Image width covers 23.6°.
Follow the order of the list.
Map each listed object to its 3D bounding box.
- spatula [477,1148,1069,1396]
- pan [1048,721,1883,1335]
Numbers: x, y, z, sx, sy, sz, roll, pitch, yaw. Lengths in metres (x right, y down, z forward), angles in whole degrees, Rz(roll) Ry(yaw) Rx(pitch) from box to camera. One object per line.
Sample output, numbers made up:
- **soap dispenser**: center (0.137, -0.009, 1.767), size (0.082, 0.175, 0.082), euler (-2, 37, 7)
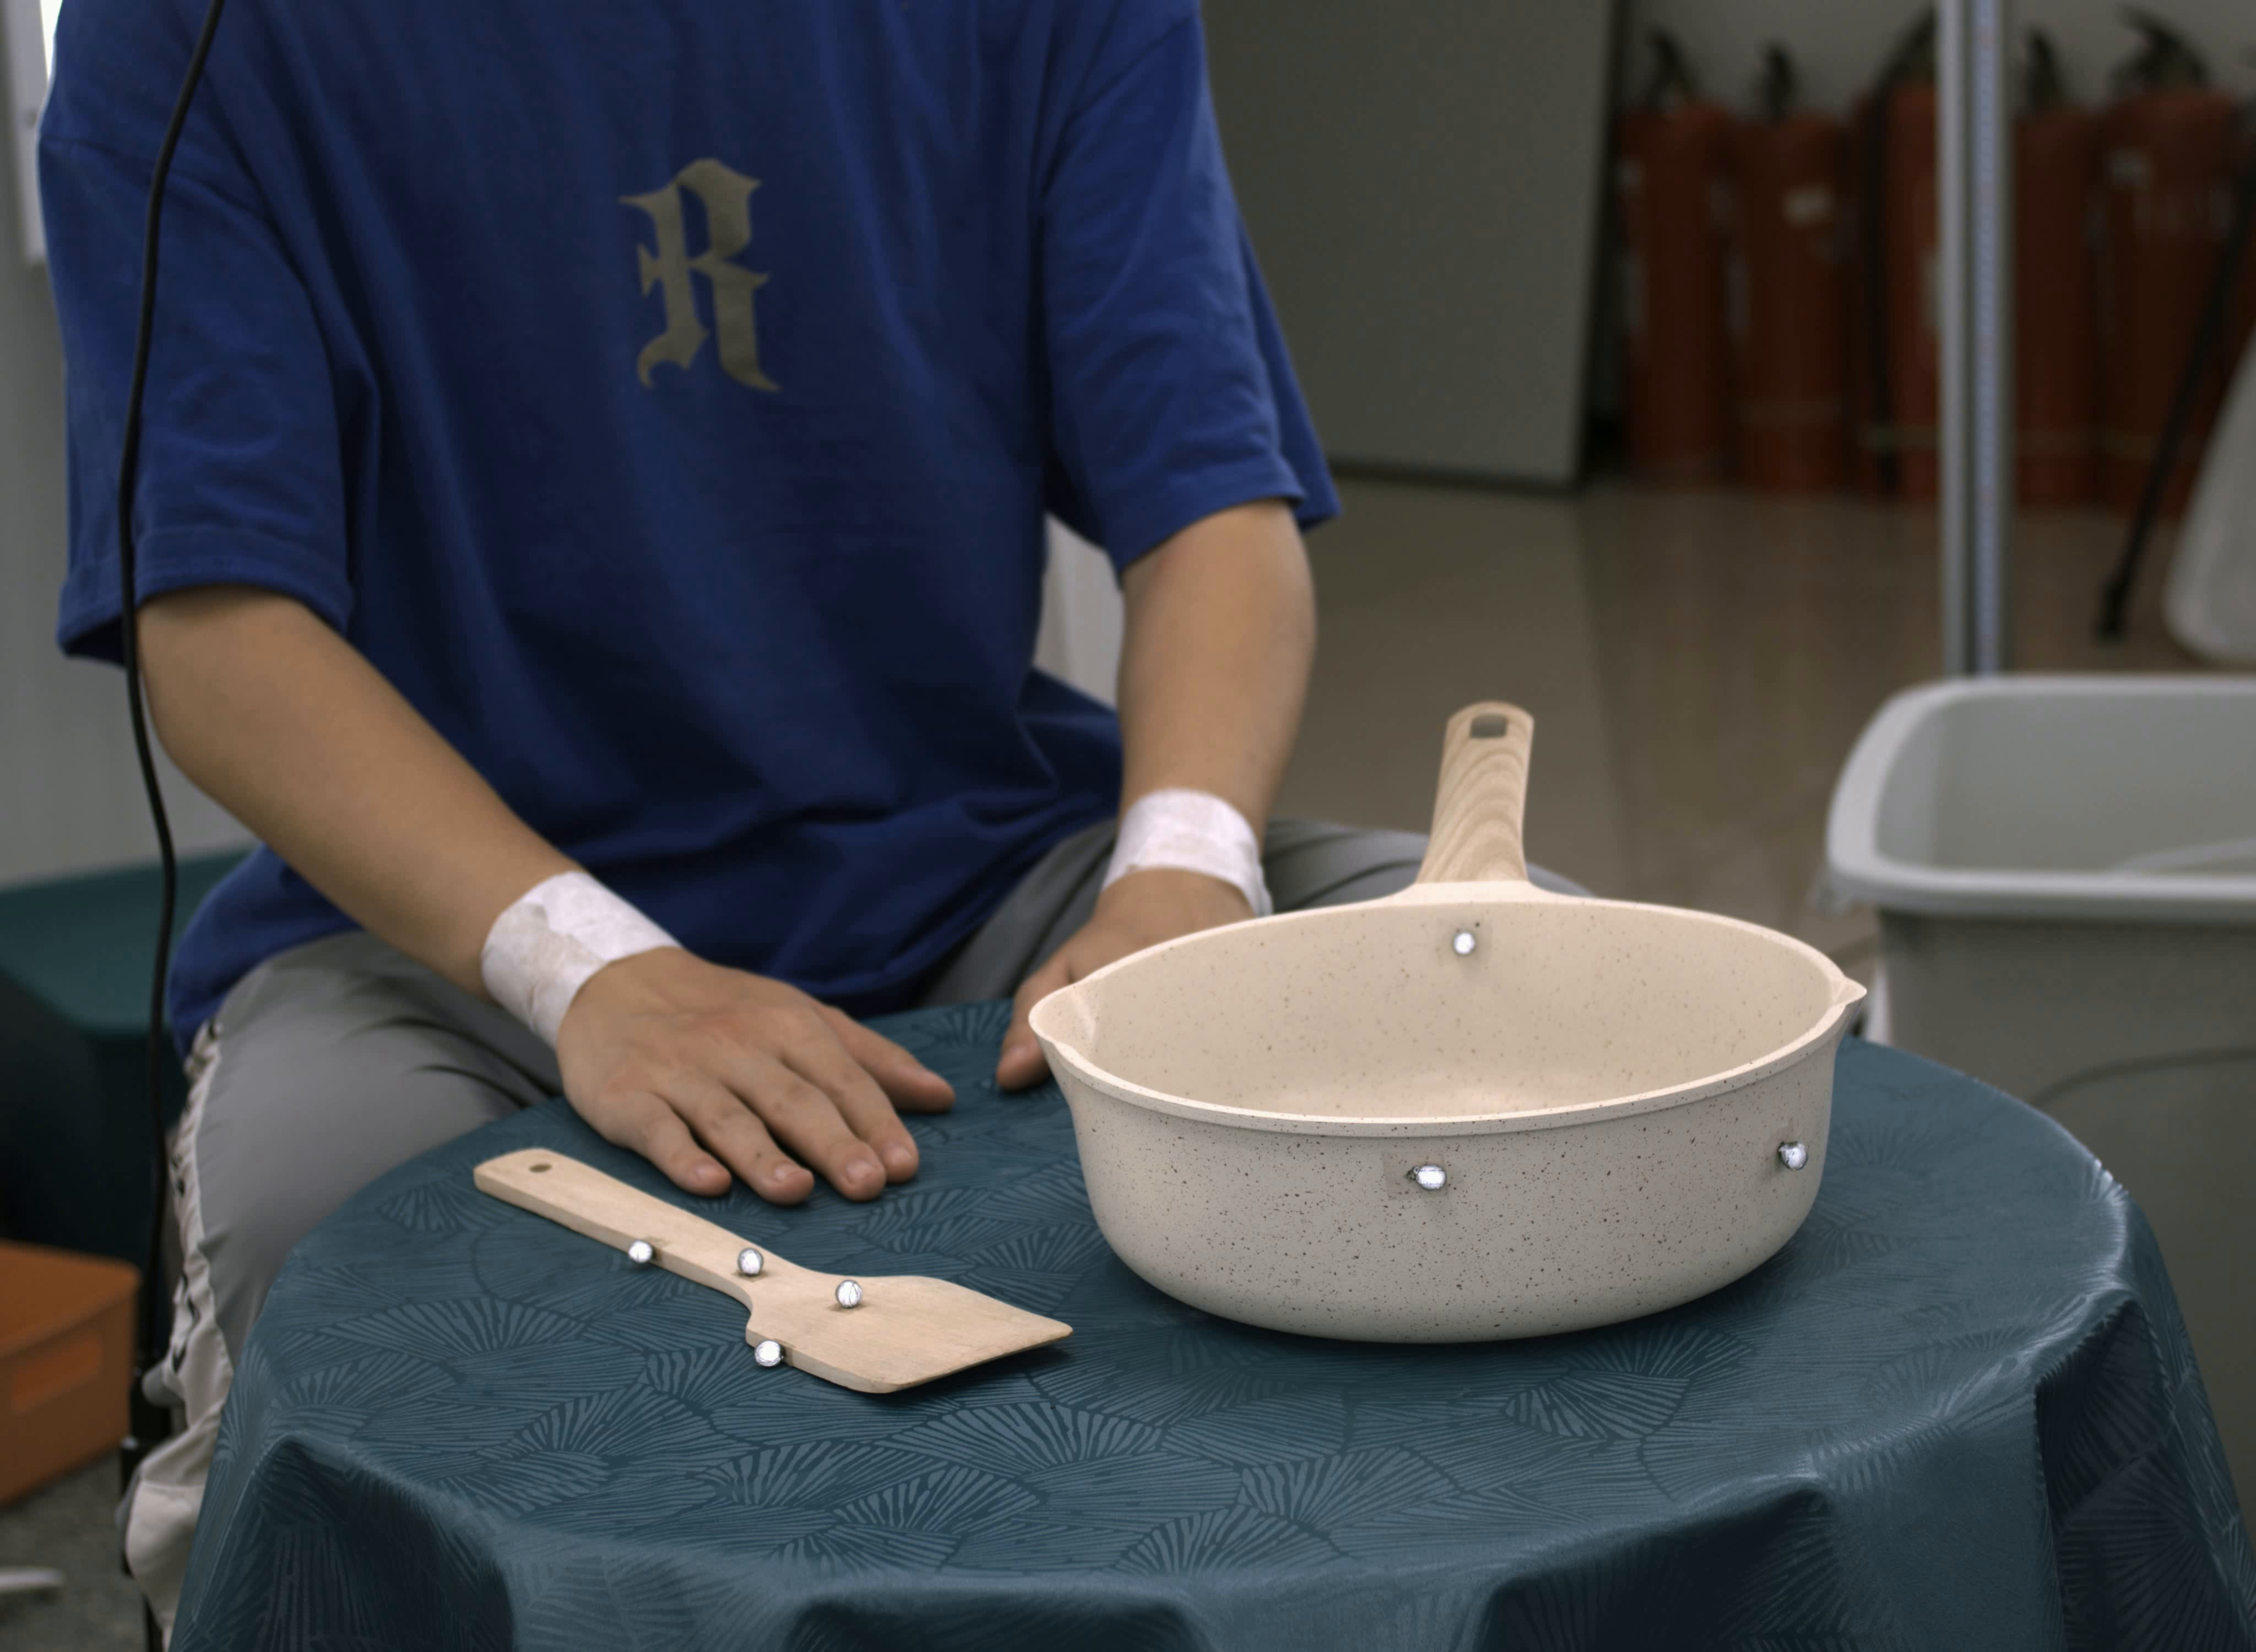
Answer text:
- **spatula**: center (-0.128, 0.139, 1.718), size (0.071, 0.011, 0.296), euler (-15, 17, -33)
- **pan**: center (0.115, 0.062, 1.770), size (0.261, 0.103, 0.434), euler (-4, 13, 7)
